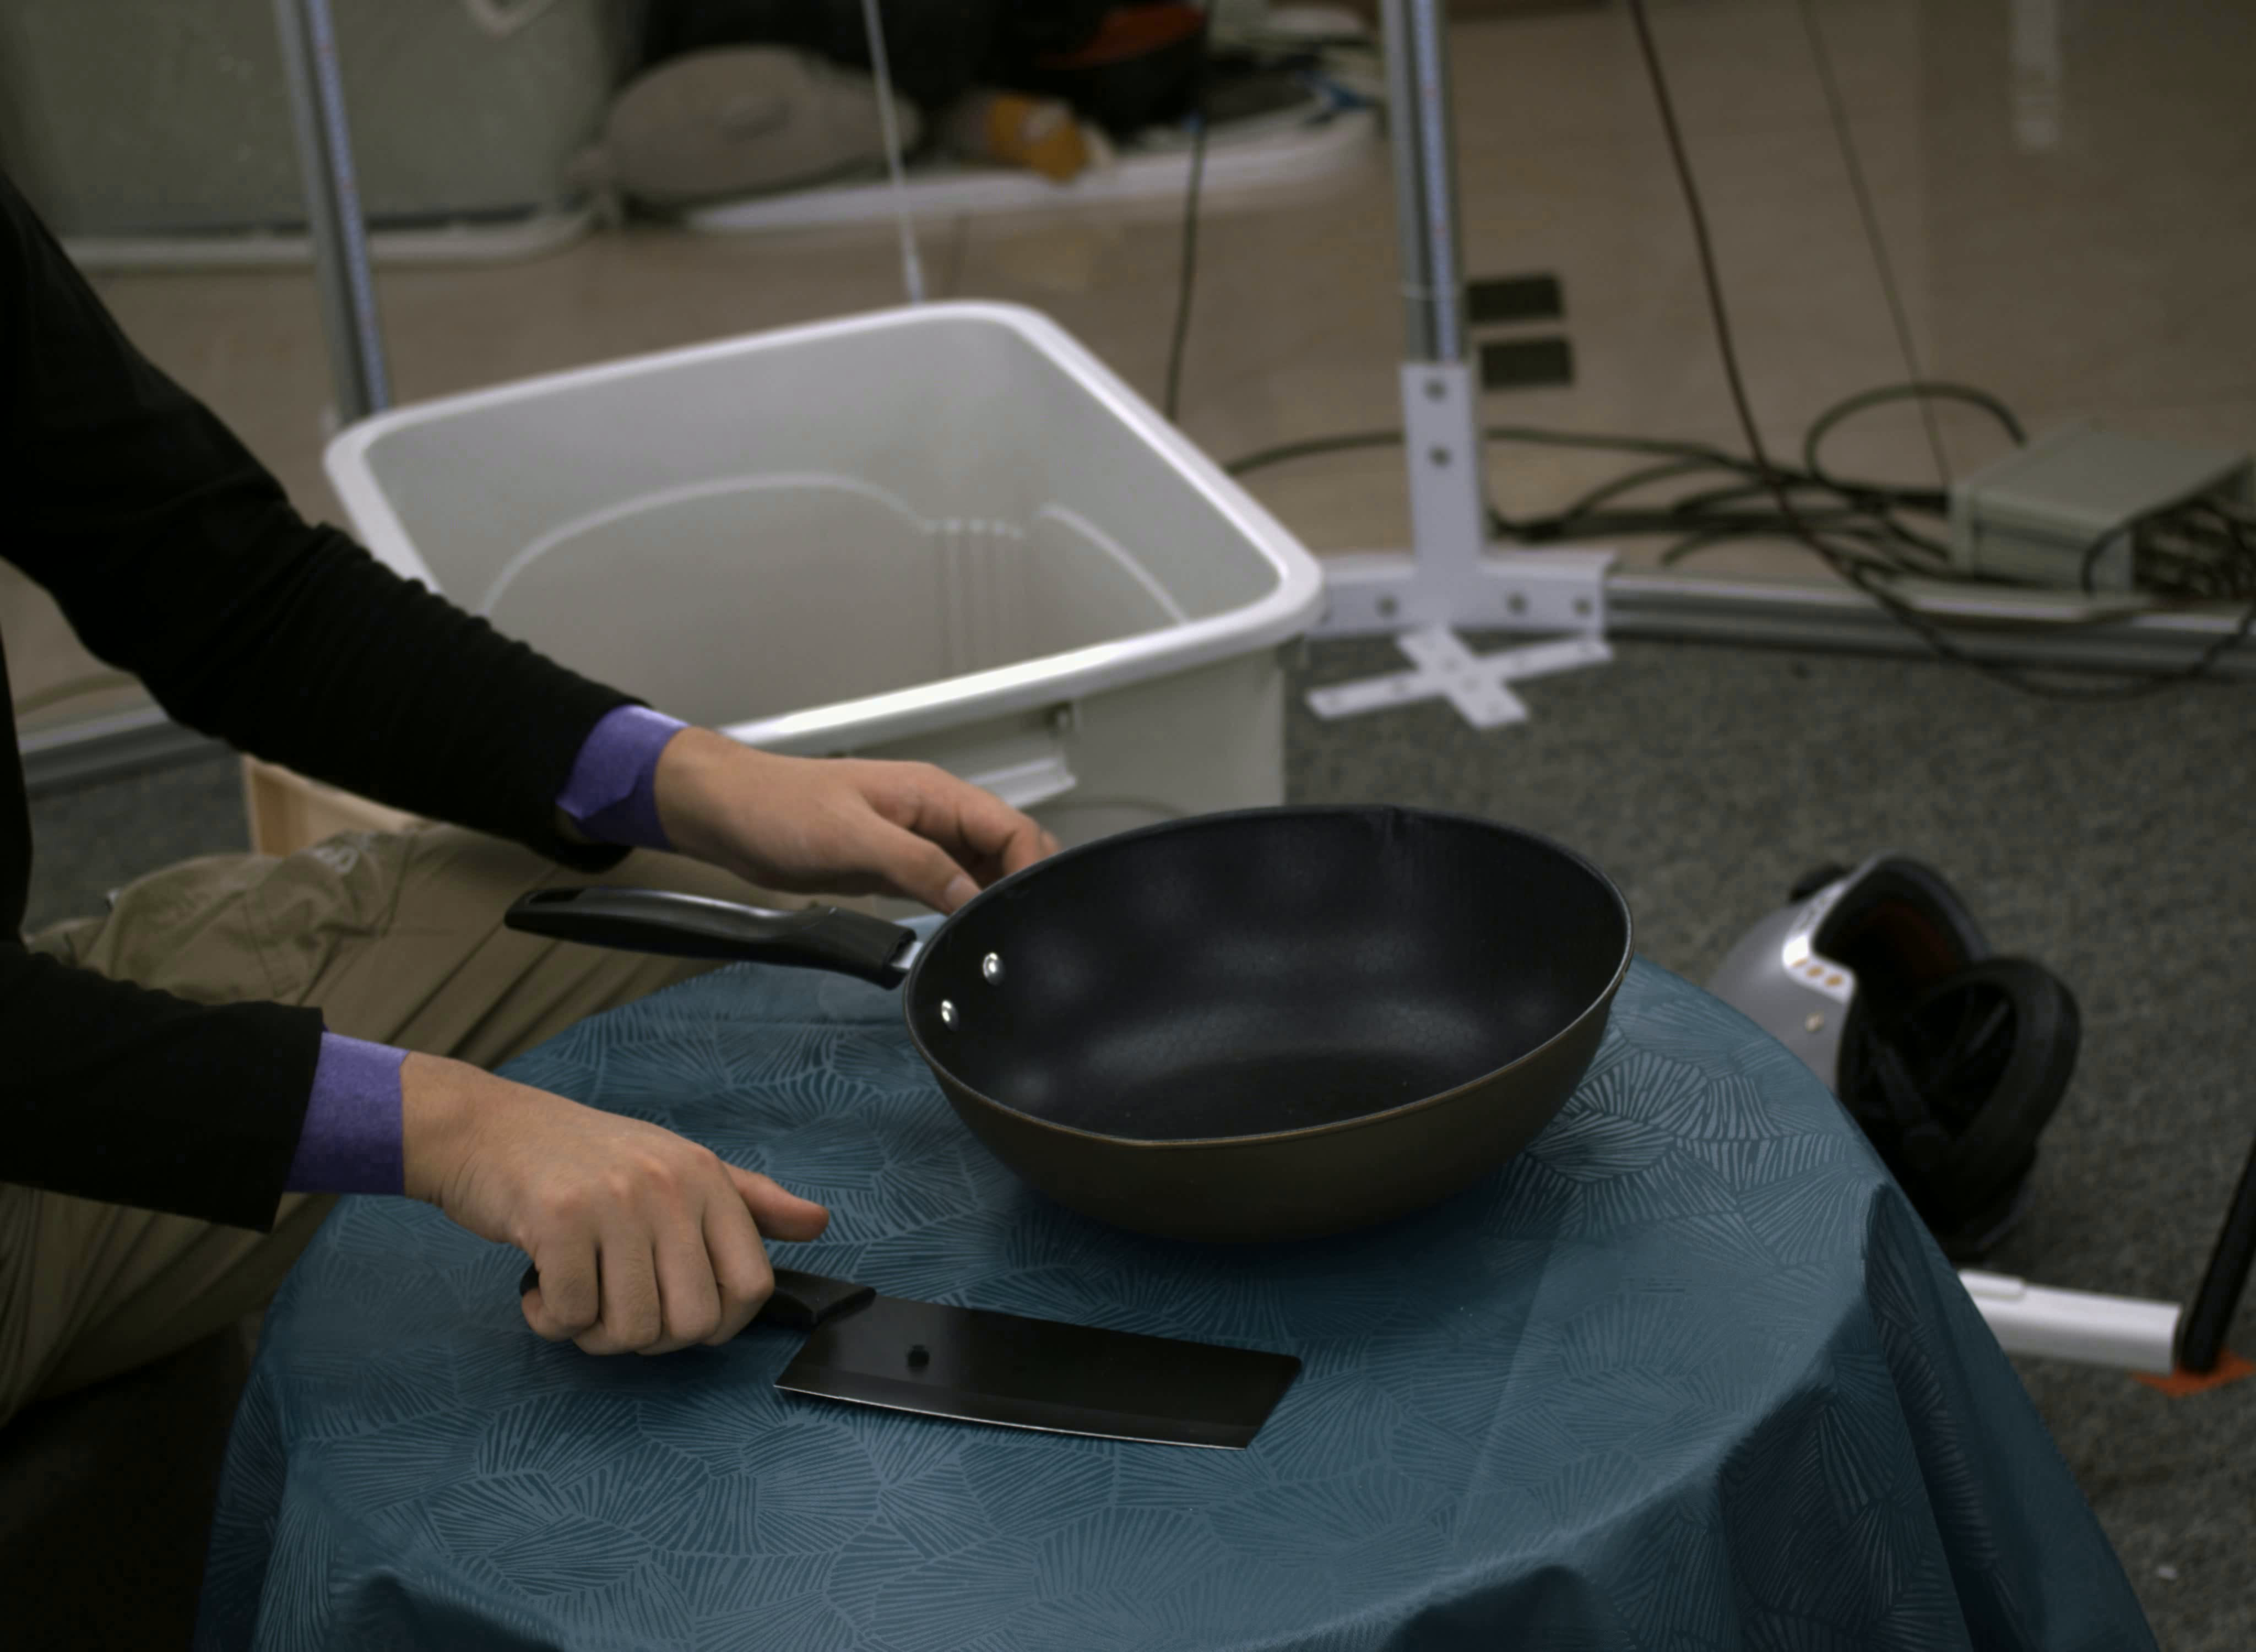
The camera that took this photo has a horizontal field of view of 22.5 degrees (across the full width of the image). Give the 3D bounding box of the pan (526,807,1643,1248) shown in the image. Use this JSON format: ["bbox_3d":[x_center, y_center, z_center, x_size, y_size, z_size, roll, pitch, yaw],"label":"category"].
[{"bbox_3d":[-0.025,0.079,2.186,0.462,0.088,0.284,4,27,23],"label":"pan"}]

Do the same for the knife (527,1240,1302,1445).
[{"bbox_3d":[-0.084,0.186,2.053,0.301,0.021,0.080,9,30,26],"label":"knife"}]
